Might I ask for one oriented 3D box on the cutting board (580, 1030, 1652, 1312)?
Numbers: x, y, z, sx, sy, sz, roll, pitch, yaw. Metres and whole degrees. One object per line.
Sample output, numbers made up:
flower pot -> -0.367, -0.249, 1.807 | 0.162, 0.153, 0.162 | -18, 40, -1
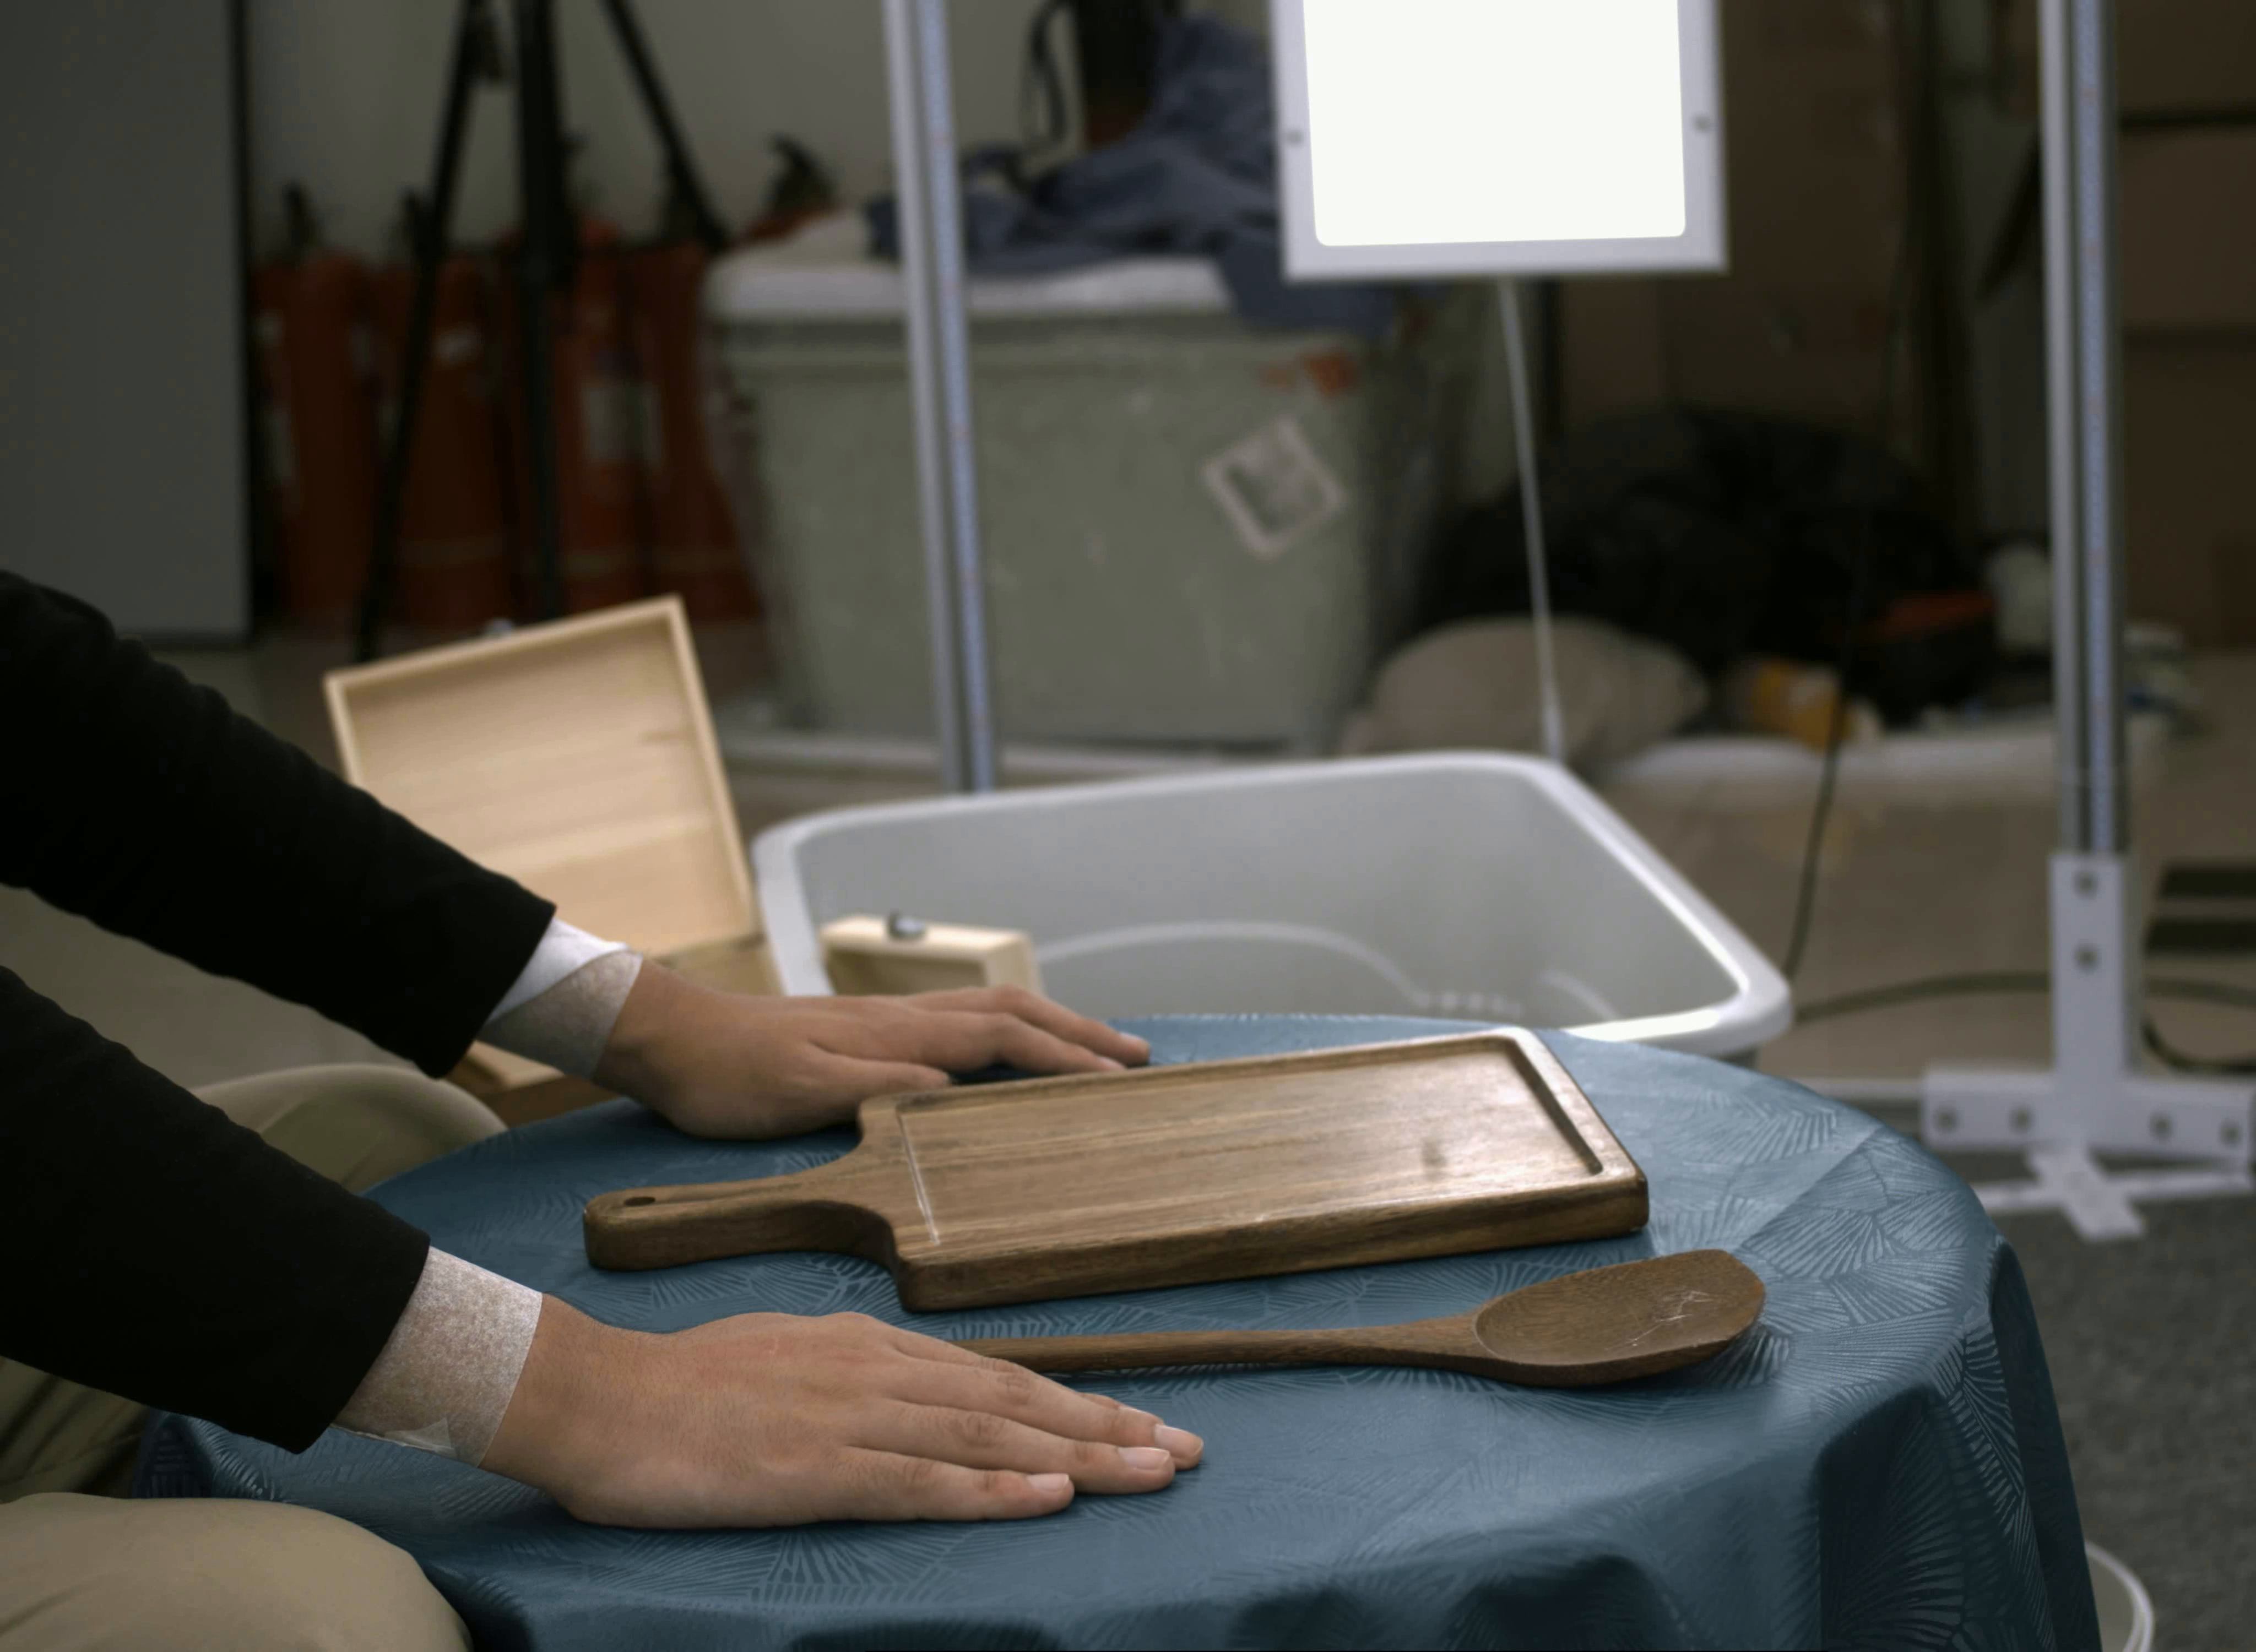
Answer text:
cutting board -> -0.012, 0.120, 1.884 | 0.350, 0.023, 0.201 | -6, 13, -4

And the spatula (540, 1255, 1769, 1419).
spatula -> 0.007, 0.163, 1.714 | 0.386, 0.016, 0.095 | -4, 13, 6
